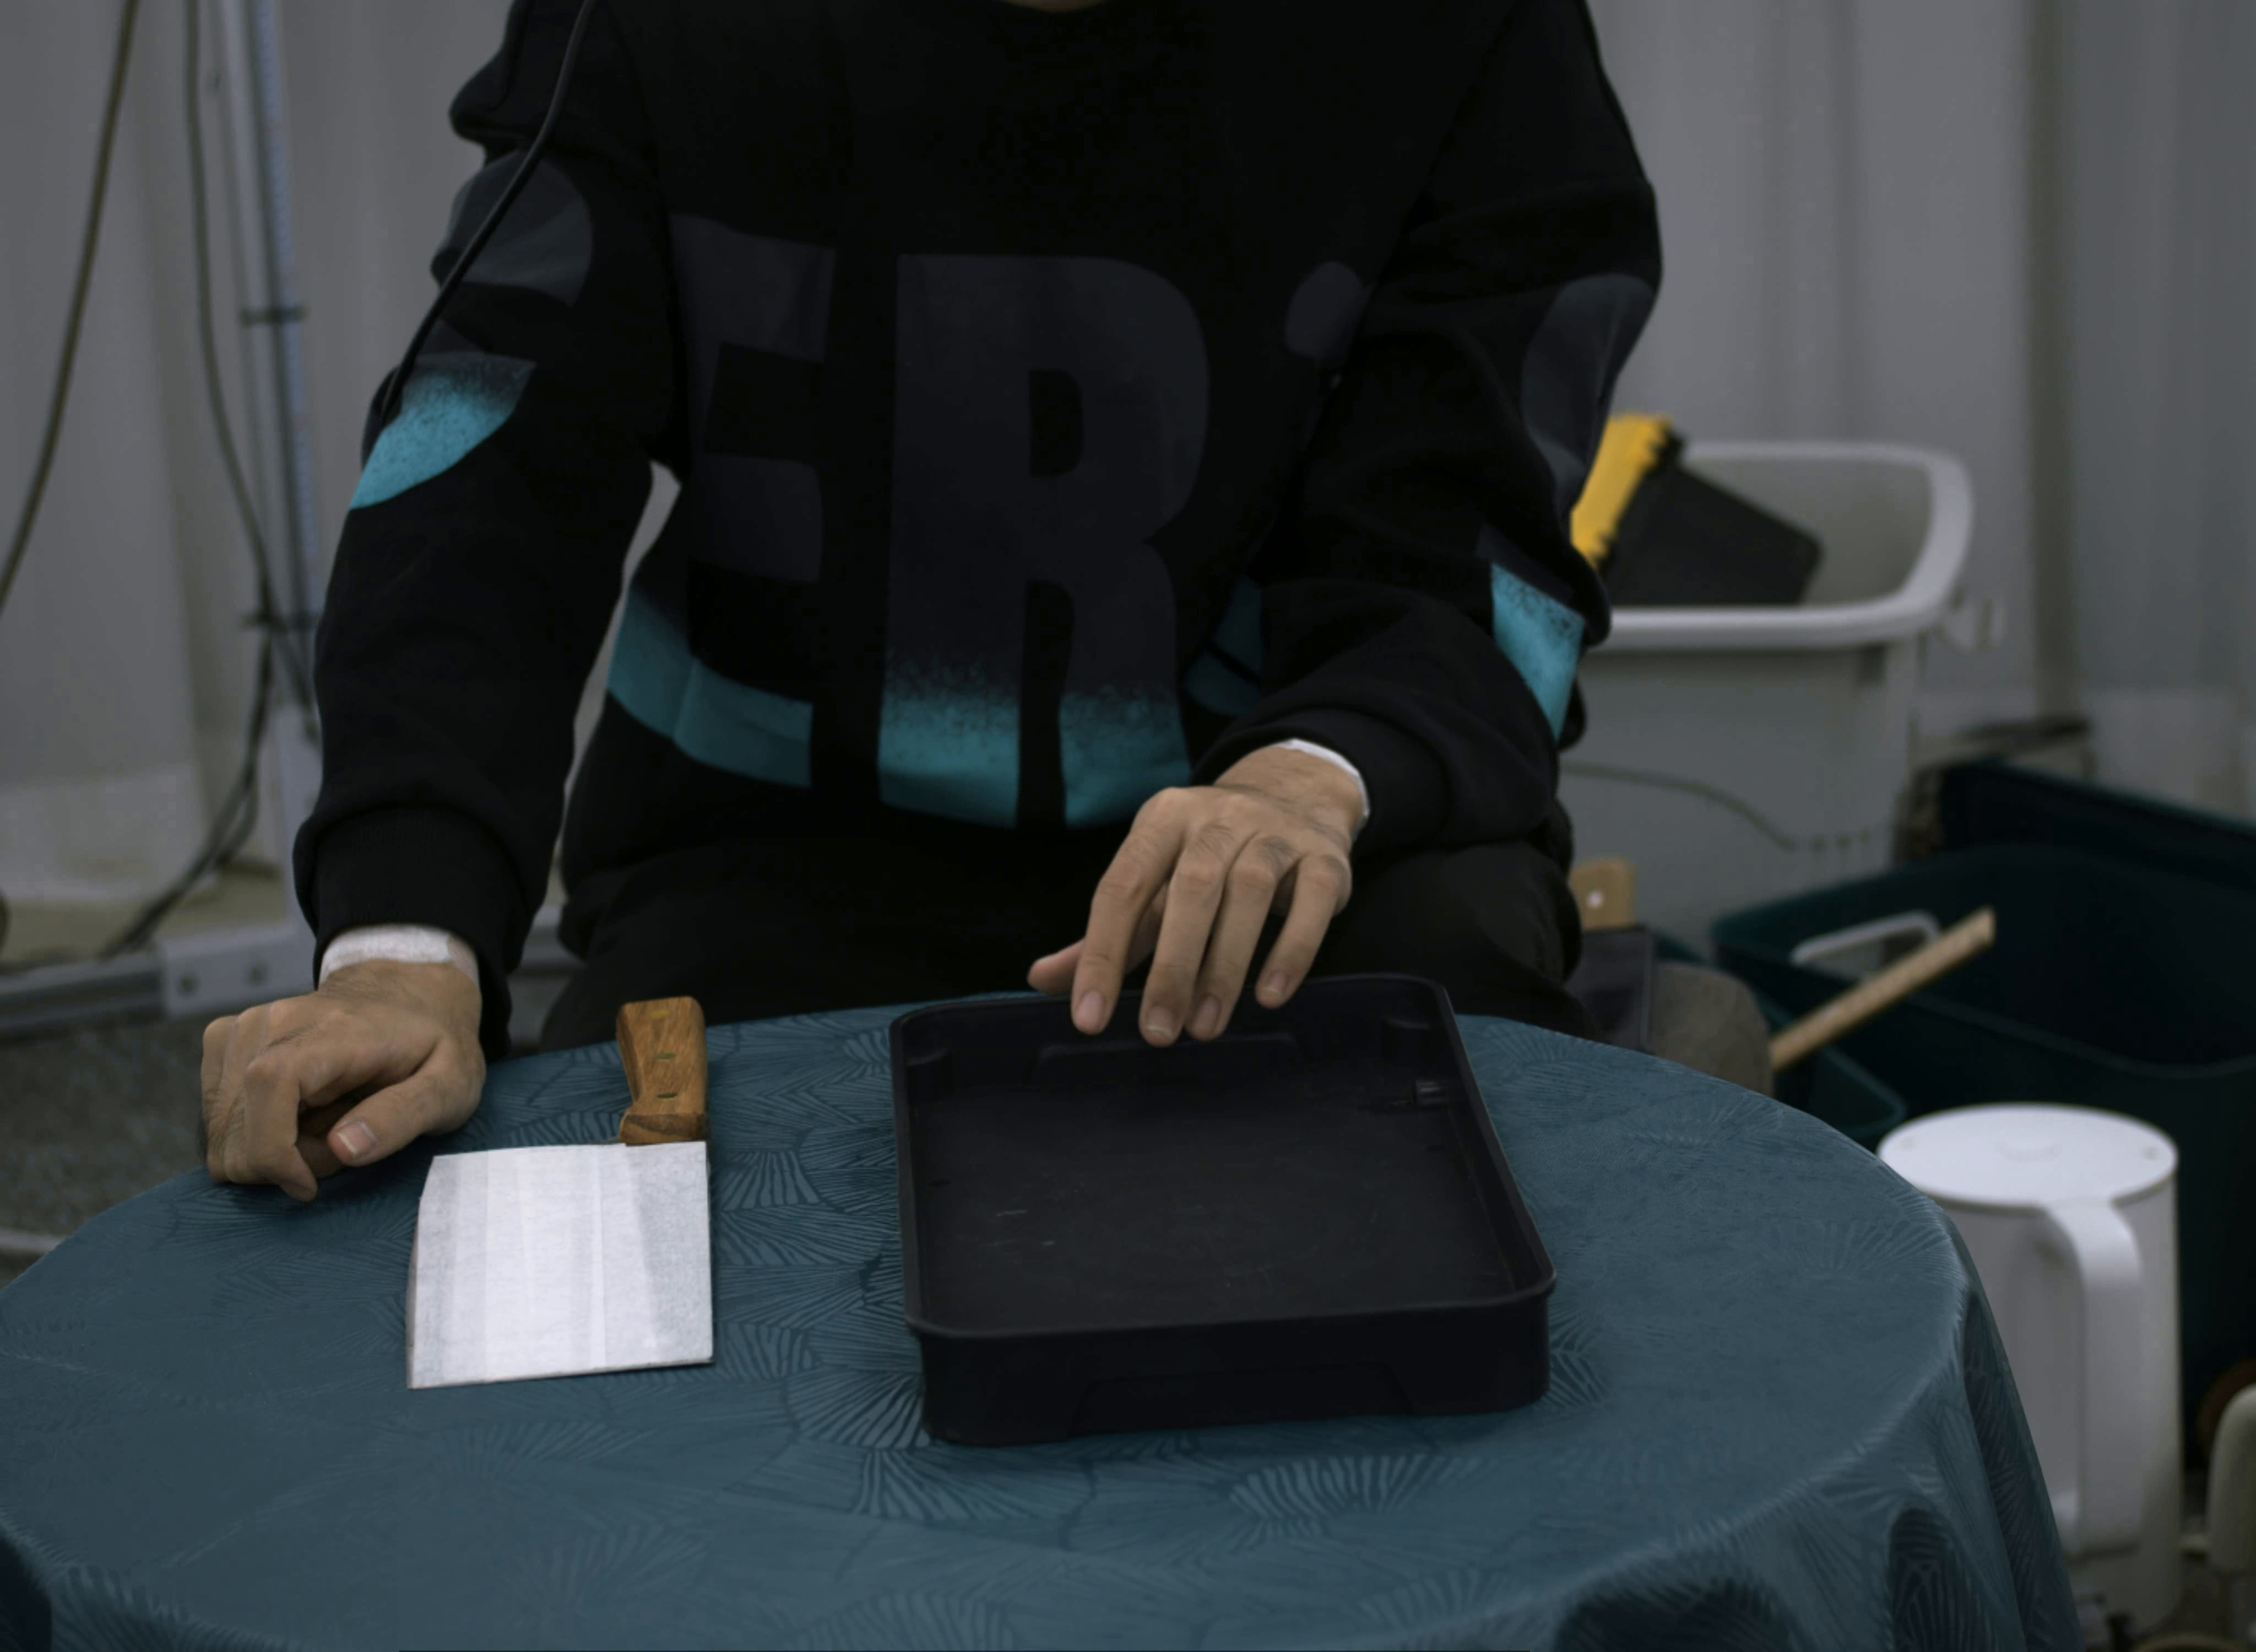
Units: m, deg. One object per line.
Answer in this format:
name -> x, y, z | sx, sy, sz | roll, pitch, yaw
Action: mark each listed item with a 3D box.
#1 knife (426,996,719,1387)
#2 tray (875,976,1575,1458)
knife -> -0.175, 0.114, 1.724 | 0.092, 0.021, 0.308 | -6, 17, -3
tray -> 0.022, 0.112, 1.651 | 0.183, 0.037, 0.320 | -5, 15, -4
